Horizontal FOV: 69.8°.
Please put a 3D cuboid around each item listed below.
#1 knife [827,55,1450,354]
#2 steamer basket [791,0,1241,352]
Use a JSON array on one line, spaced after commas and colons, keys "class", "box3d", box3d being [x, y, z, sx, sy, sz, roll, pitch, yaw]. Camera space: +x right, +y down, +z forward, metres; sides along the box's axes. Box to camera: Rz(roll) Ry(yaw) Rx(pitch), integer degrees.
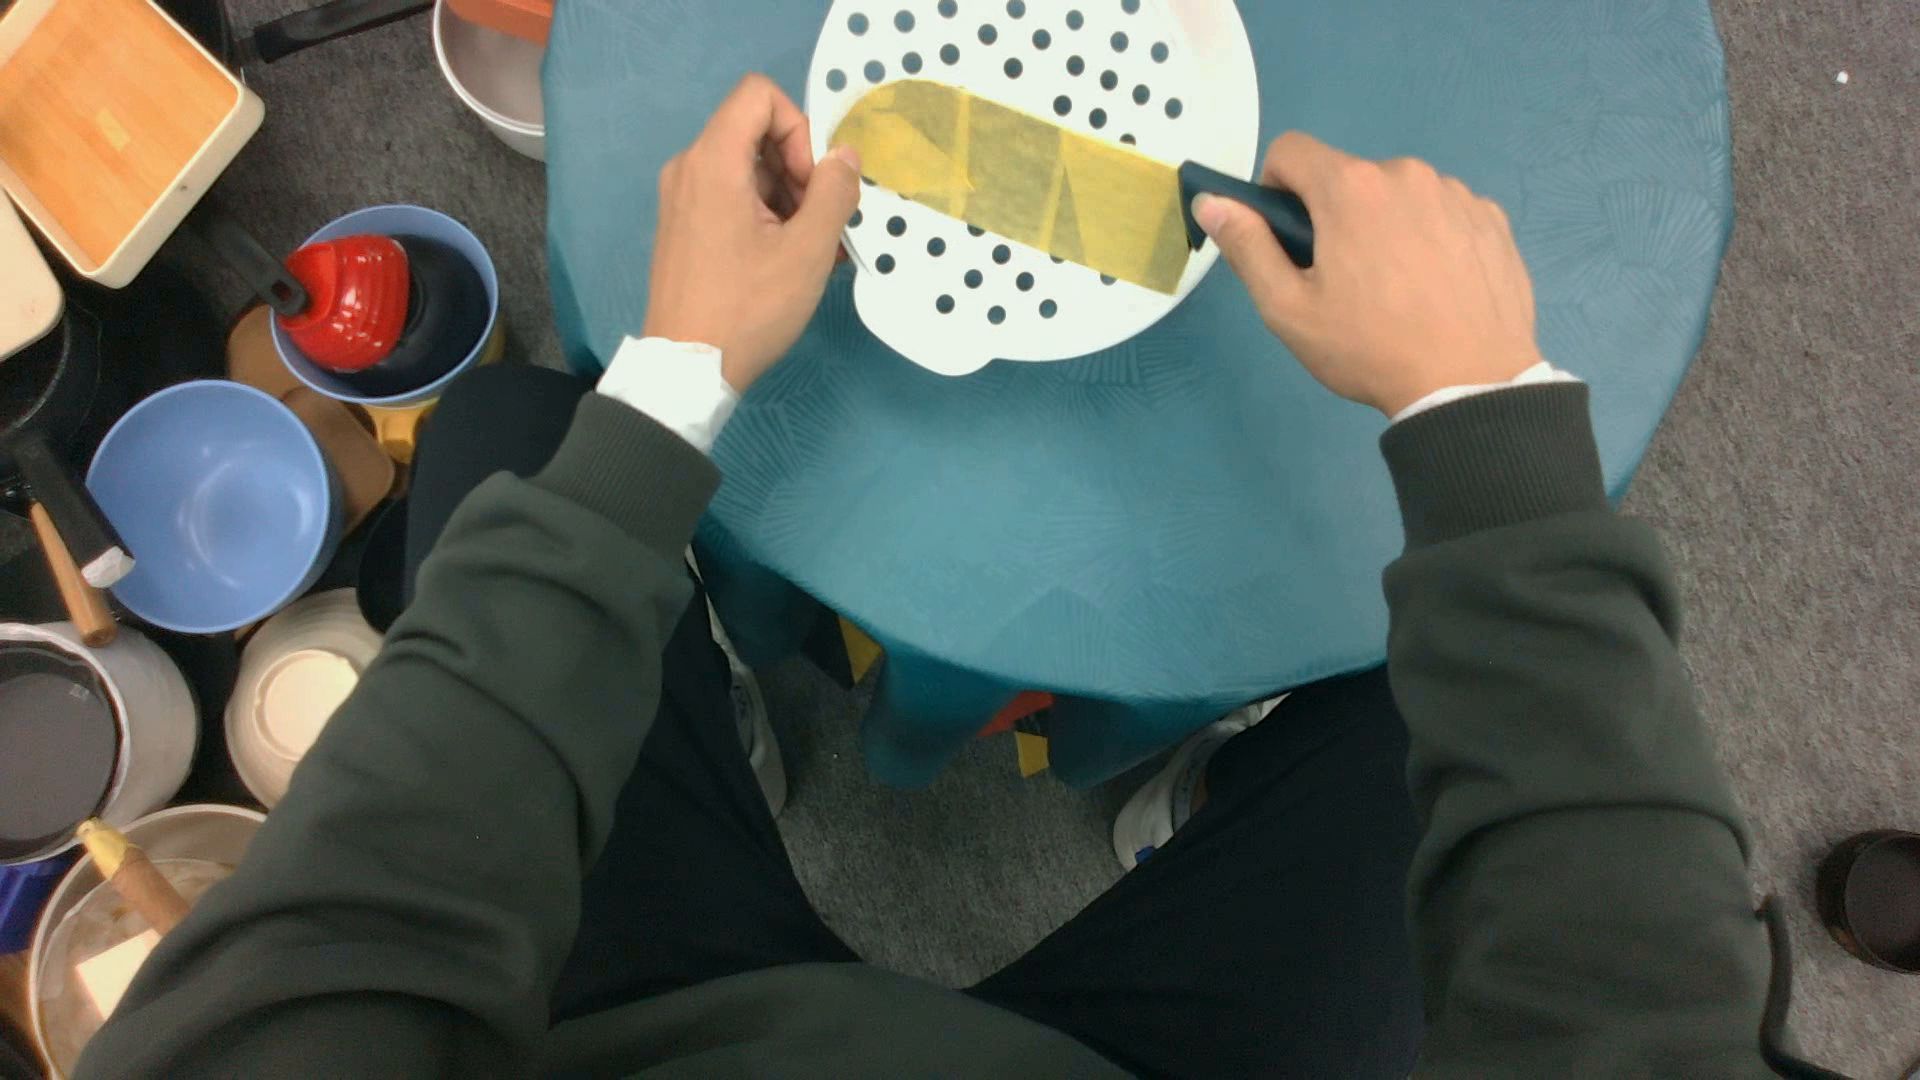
[{"class": "knife", "box3d": [0.066, -0.140, 0.587, 0.289, 0.081, 0.027, 26, 69, 13]}, {"class": "steamer basket", "box3d": [0.023, -0.196, 0.624, 0.202, 0.069, 0.230, 32, 95, -19]}]
